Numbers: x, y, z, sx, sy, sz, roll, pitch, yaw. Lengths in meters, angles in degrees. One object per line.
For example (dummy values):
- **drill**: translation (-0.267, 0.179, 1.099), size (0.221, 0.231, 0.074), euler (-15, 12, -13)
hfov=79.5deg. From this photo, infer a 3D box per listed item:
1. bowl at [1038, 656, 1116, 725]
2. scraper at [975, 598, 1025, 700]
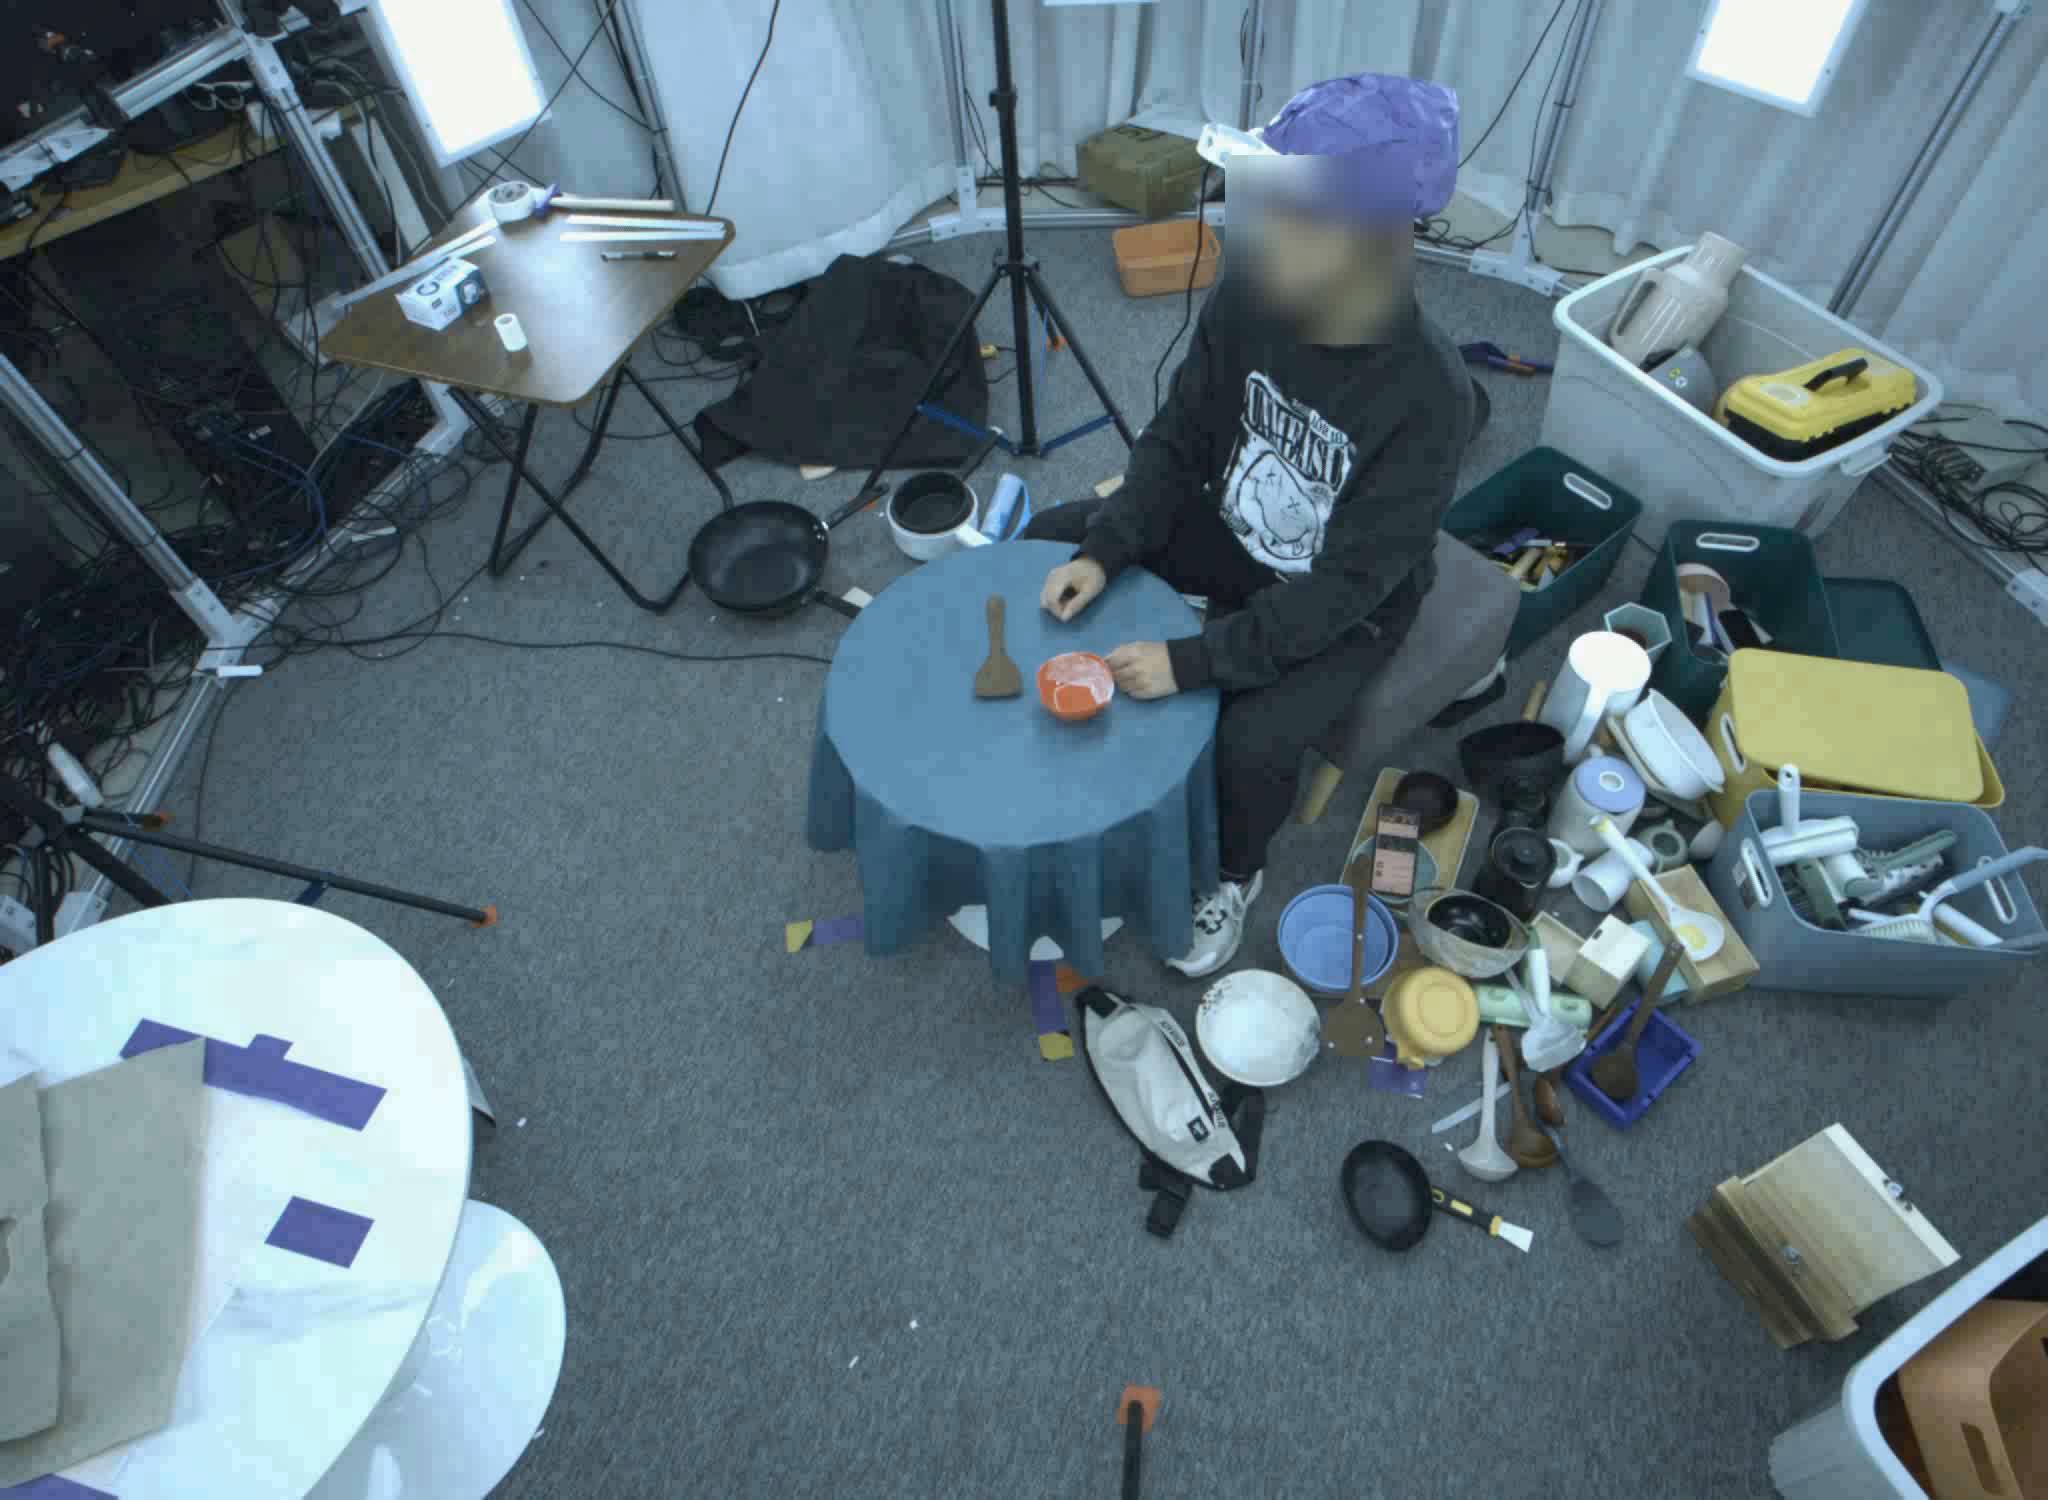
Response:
- **bowl**: translation (0.079, -0.081, 1.823), size (0.119, 0.052, 0.118), euler (-1, 55, 3)
- **scraper**: translation (-0.041, -0.158, 1.906), size (0.076, 0.011, 0.209), euler (-3, 54, -1)
